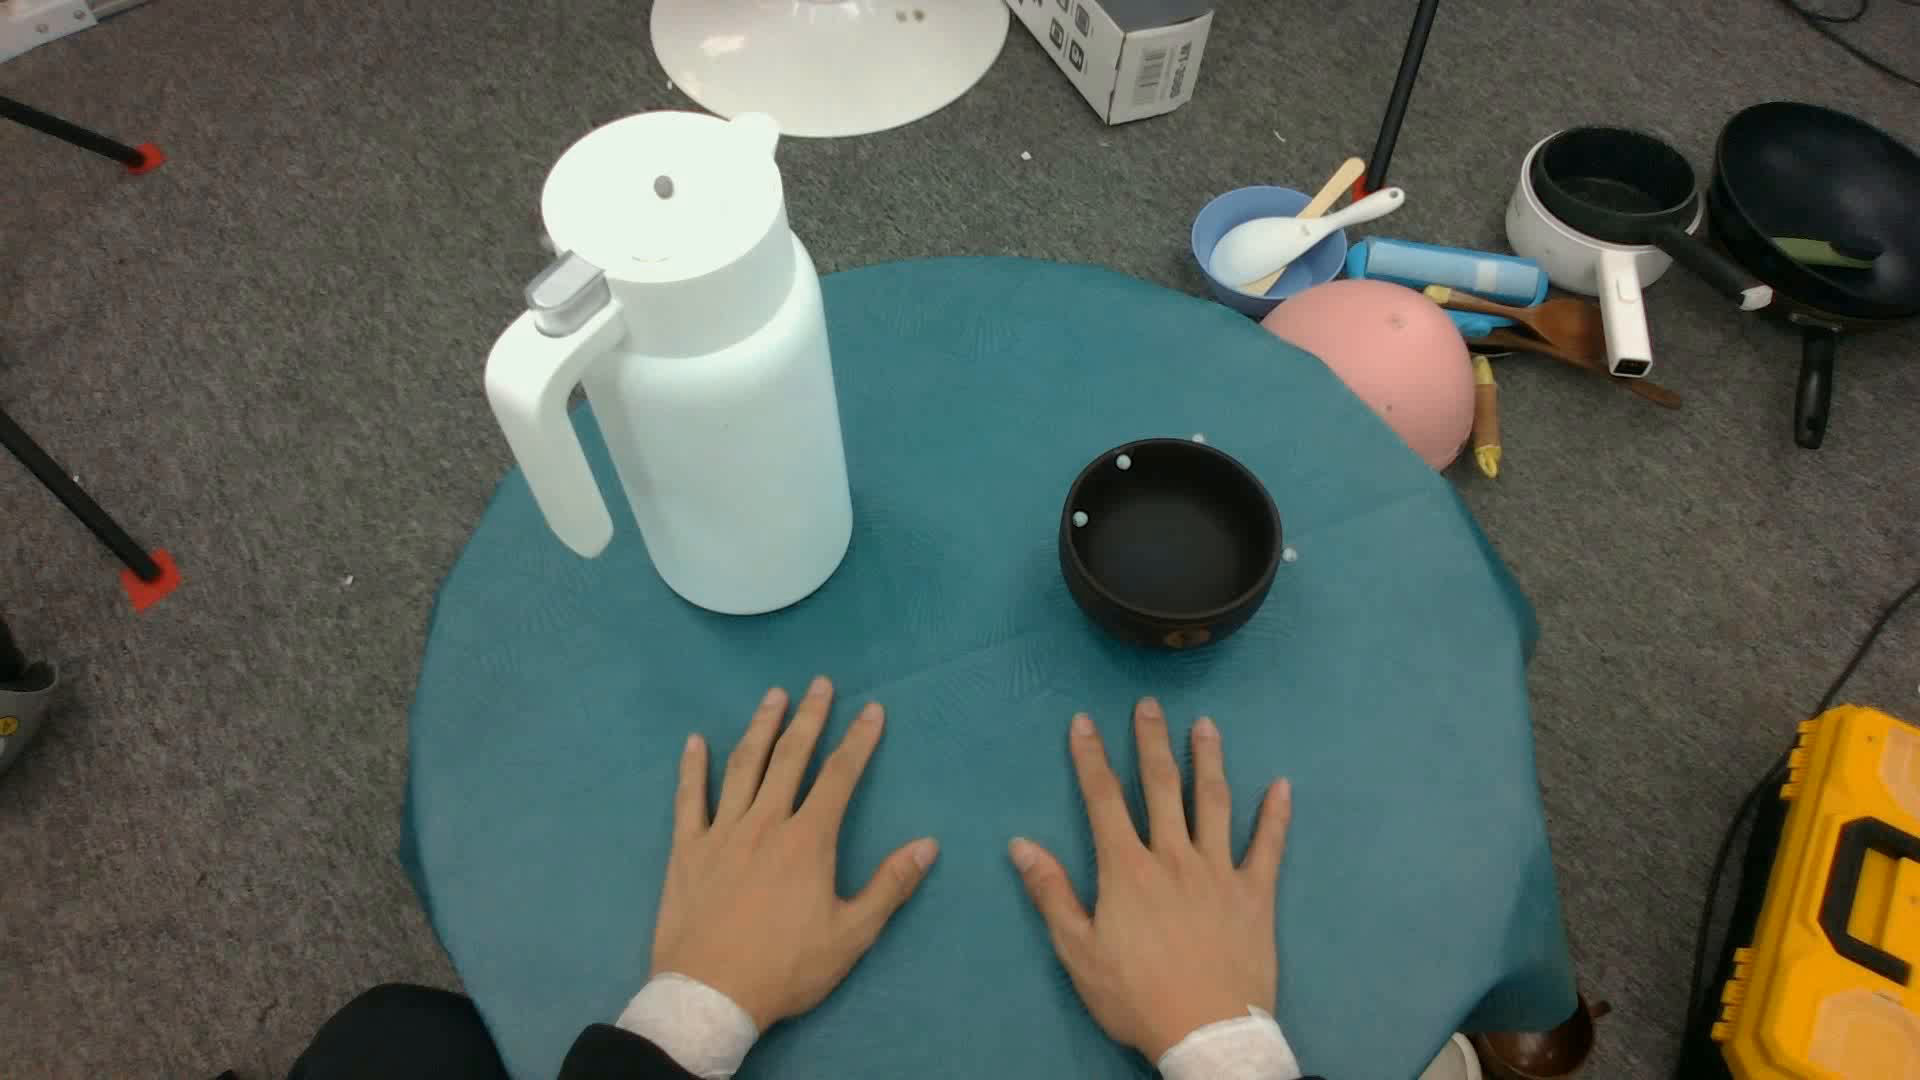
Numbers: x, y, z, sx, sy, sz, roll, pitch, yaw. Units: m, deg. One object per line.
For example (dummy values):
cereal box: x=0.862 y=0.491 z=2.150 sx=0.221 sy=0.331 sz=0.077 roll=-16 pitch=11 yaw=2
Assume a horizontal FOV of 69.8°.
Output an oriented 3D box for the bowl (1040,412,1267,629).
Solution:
bowl: x=0.102 y=-0.004 z=0.745 sx=0.118 sy=0.069 sz=0.118 roll=0 pitch=59 yaw=0

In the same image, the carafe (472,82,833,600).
carafe: x=-0.139 y=-0.069 z=0.672 sx=0.124 sy=0.267 sz=0.173 roll=29 pitch=63 yaw=14
